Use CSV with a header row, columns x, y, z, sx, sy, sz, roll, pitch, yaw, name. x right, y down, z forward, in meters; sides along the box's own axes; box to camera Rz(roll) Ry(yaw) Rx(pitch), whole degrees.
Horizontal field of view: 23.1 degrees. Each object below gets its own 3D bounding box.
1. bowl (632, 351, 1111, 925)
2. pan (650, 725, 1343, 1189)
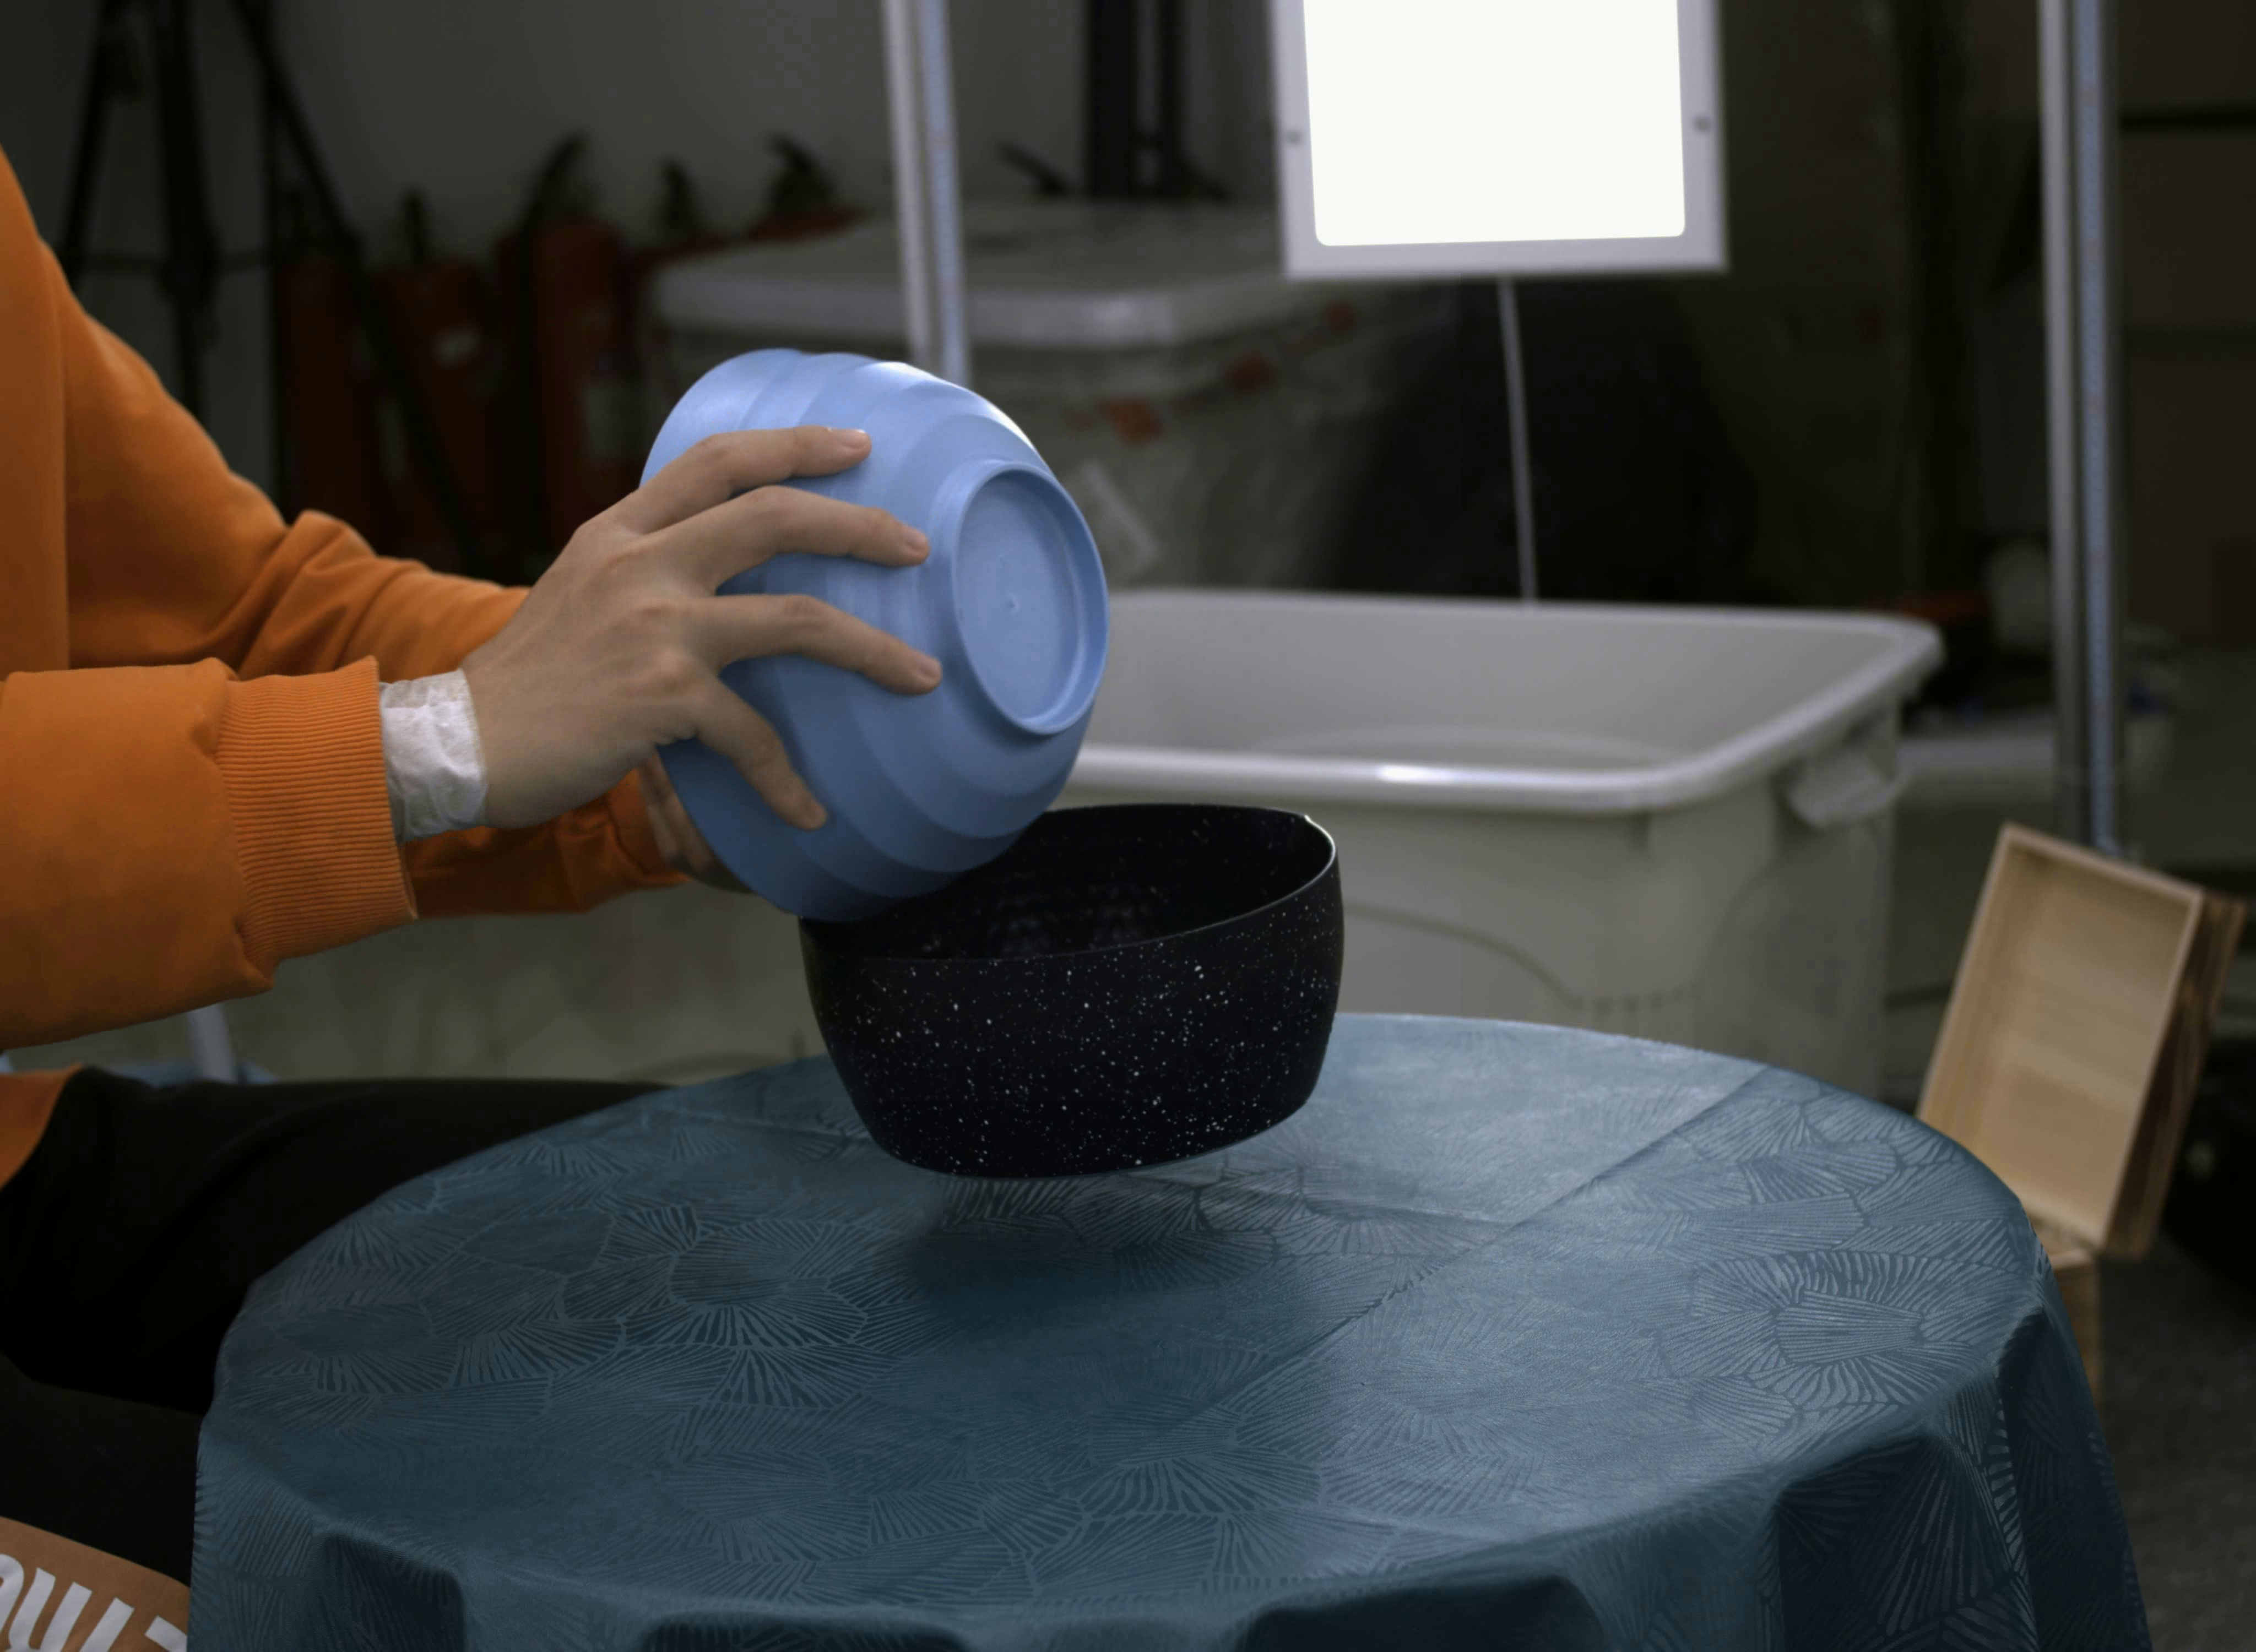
x,y,z,sx,sy,sz,roll,pitch,yaw,name
-0.070,-0.070,1.843,0.097,0.197,0.192,-9,9,34,bowl
-0.066,0.035,1.923,0.202,0.108,0.350,-19,19,-33,pan
